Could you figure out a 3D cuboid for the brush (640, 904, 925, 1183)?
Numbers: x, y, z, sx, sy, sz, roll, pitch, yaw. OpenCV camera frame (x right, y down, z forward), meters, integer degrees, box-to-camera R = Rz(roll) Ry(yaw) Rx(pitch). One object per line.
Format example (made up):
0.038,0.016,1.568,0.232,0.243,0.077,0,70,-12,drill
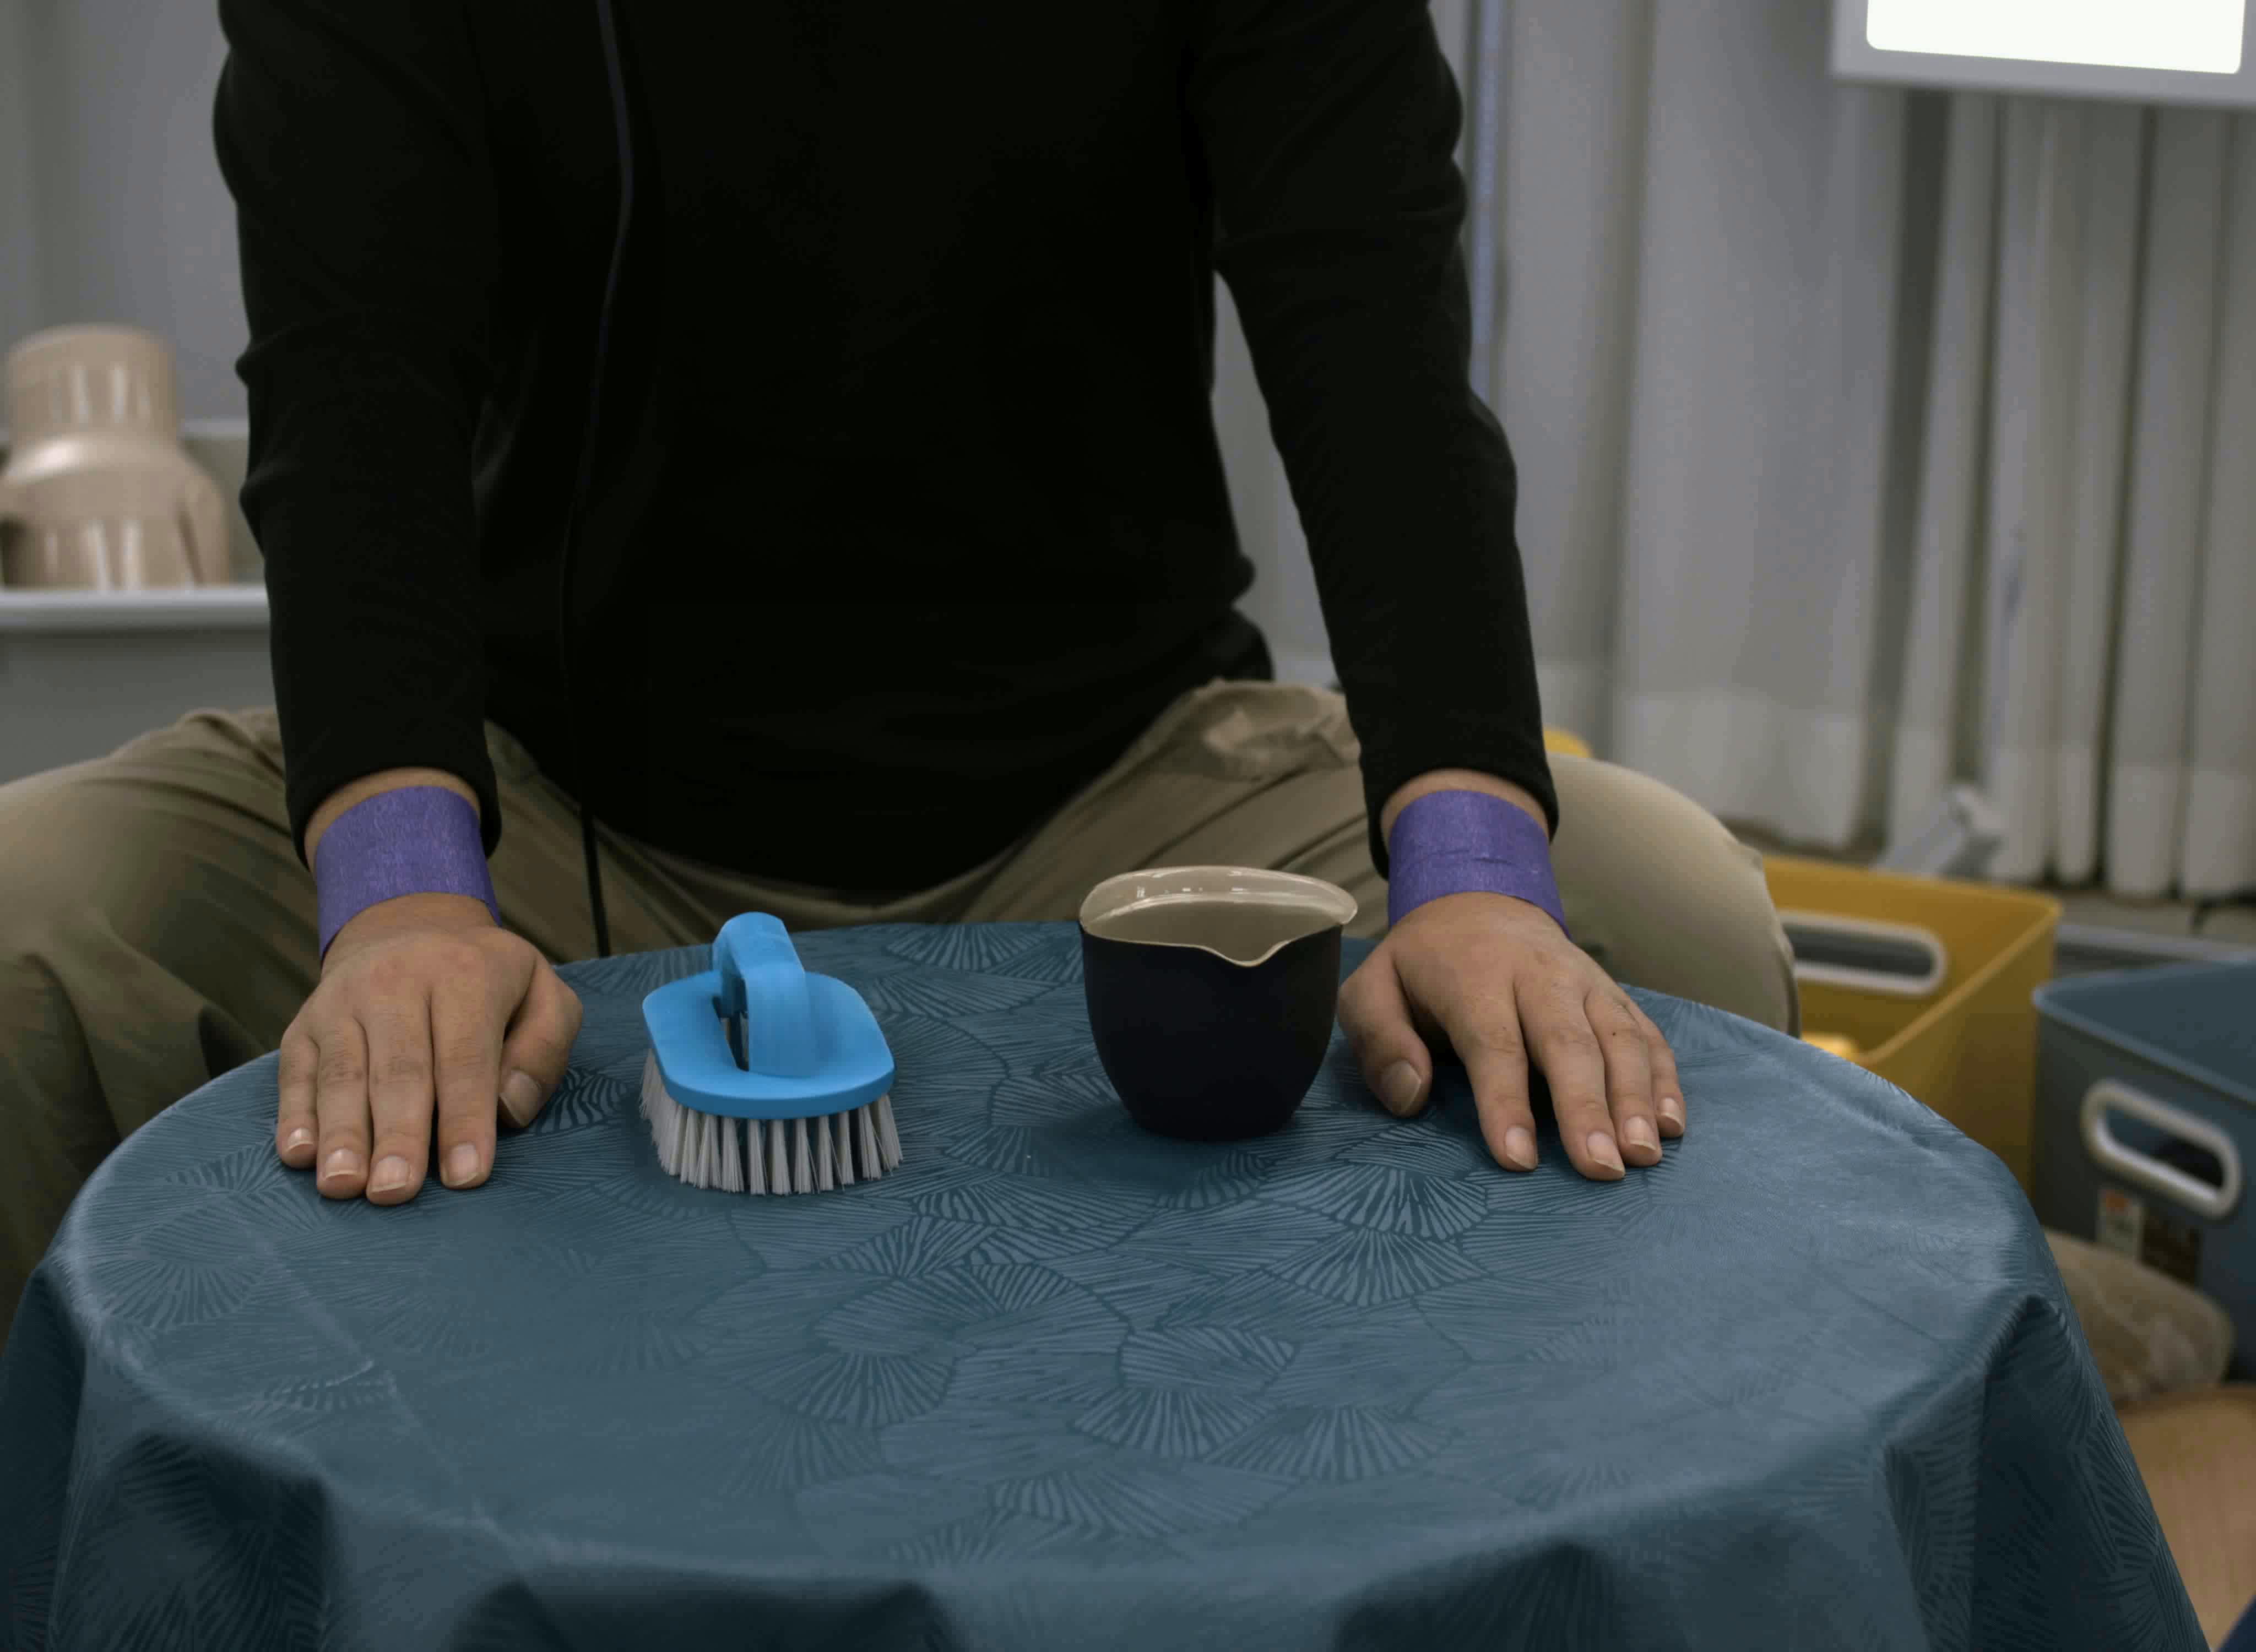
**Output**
-0.113,0.063,1.672,0.084,0.064,0.140,-6,15,-8,brush

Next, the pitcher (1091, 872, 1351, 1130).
0.030,0.057,1.681,0.083,0.072,0.095,0,17,-6,pitcher
